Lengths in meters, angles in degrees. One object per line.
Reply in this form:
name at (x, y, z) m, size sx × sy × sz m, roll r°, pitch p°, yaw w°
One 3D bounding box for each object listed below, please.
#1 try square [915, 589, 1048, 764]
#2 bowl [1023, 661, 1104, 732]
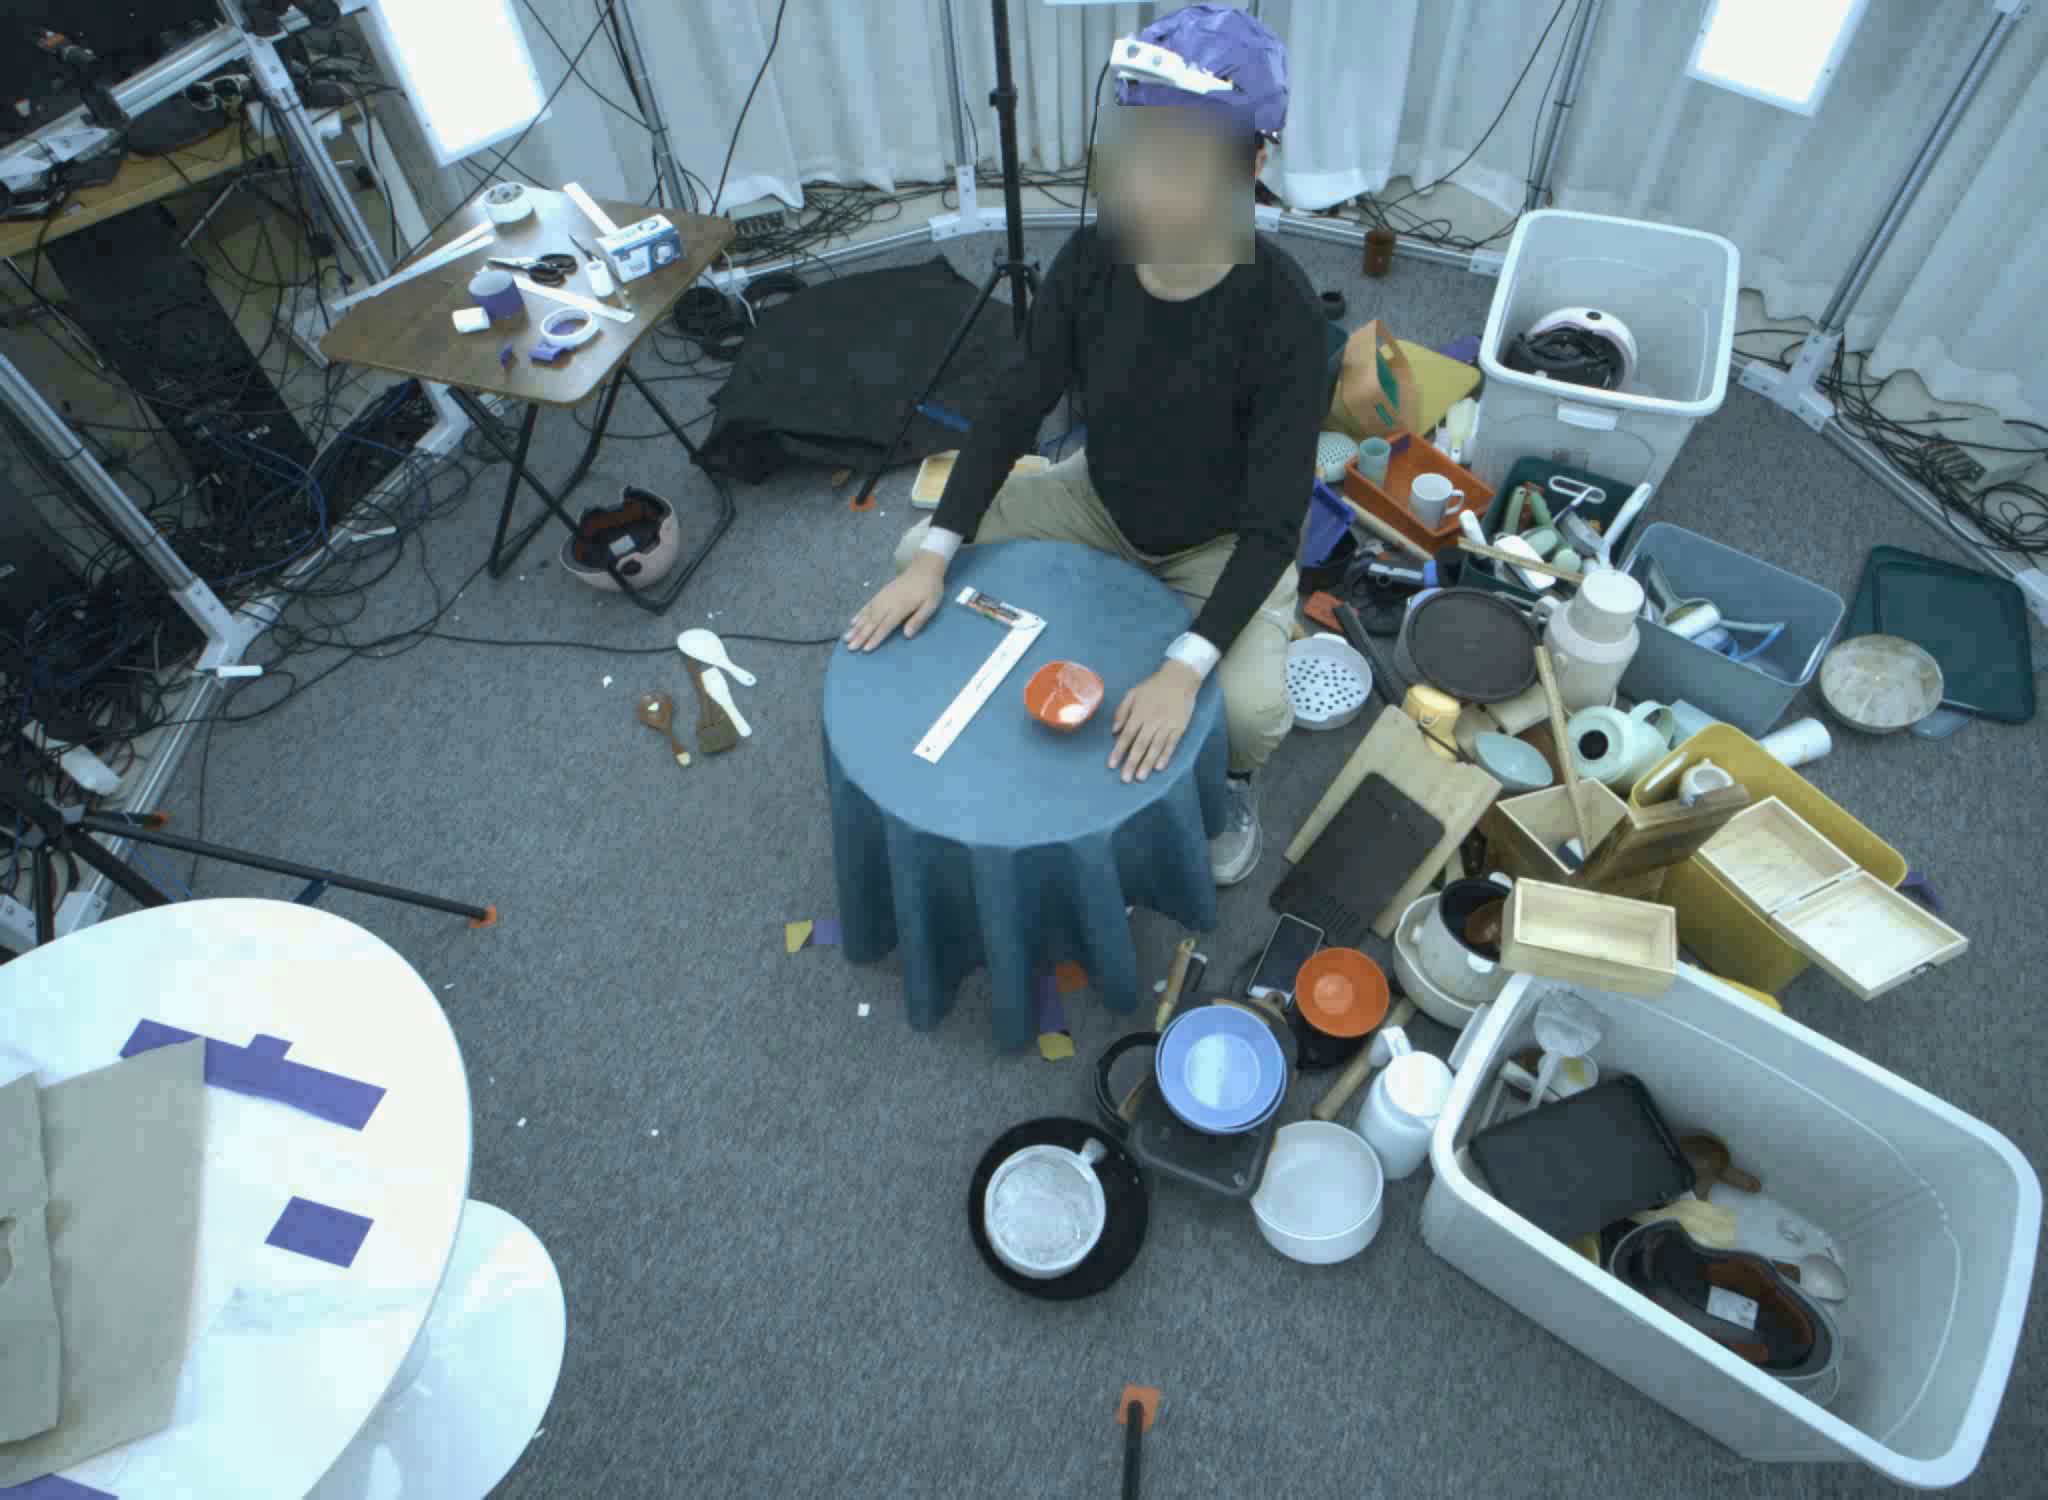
try square at (-0.106, -0.119, 1.875) m, size 0.150 × 0.016 × 0.314 m, roll 24°, pitch 60°, yaw 22°
bowl at (0.059, -0.071, 1.804) m, size 0.119 × 0.052 × 0.118 m, roll -2°, pitch 55°, yaw 3°
